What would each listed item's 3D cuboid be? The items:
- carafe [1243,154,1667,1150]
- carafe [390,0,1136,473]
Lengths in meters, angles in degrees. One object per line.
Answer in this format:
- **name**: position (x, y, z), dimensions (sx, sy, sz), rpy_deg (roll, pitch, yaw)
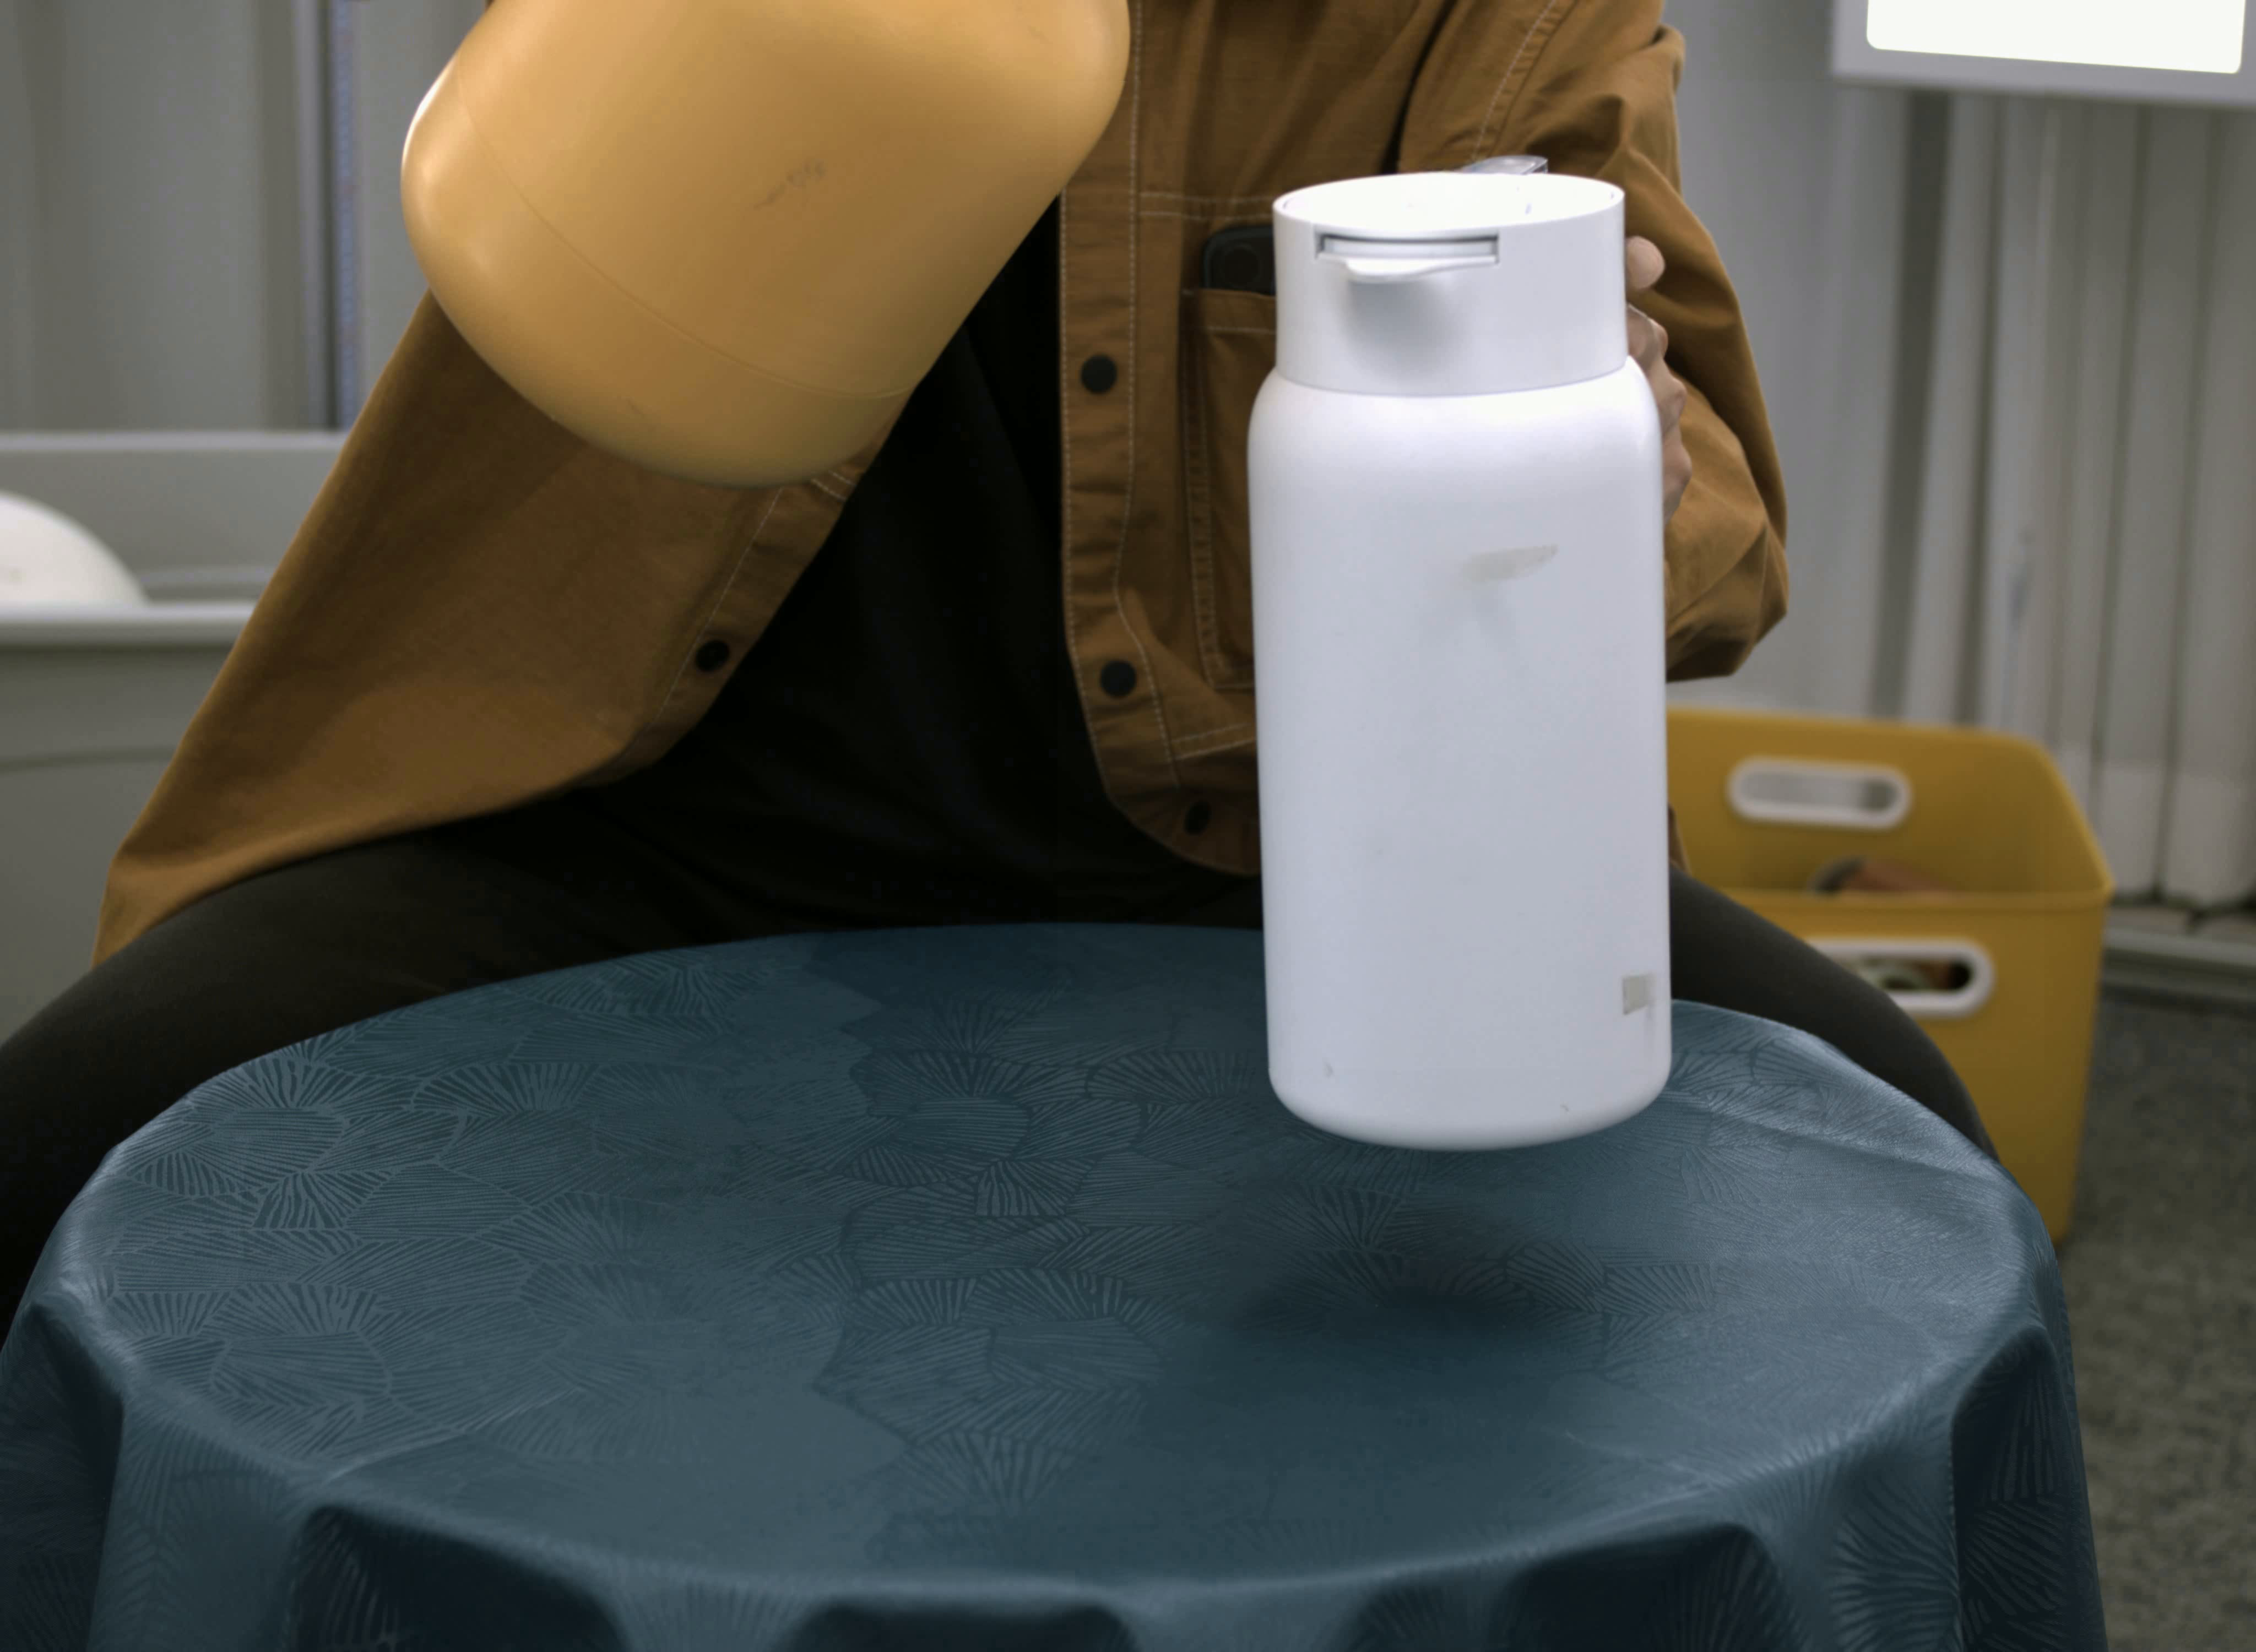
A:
- **carafe**: position (0.097, -0.054, 1.509), dimensions (0.123, 0.271, 0.173), rpy_deg (1, 16, 19)
- **carafe**: position (-0.095, -0.247, 1.473), dimensions (0.203, 0.260, 0.163), rpy_deg (41, 23, -4)
